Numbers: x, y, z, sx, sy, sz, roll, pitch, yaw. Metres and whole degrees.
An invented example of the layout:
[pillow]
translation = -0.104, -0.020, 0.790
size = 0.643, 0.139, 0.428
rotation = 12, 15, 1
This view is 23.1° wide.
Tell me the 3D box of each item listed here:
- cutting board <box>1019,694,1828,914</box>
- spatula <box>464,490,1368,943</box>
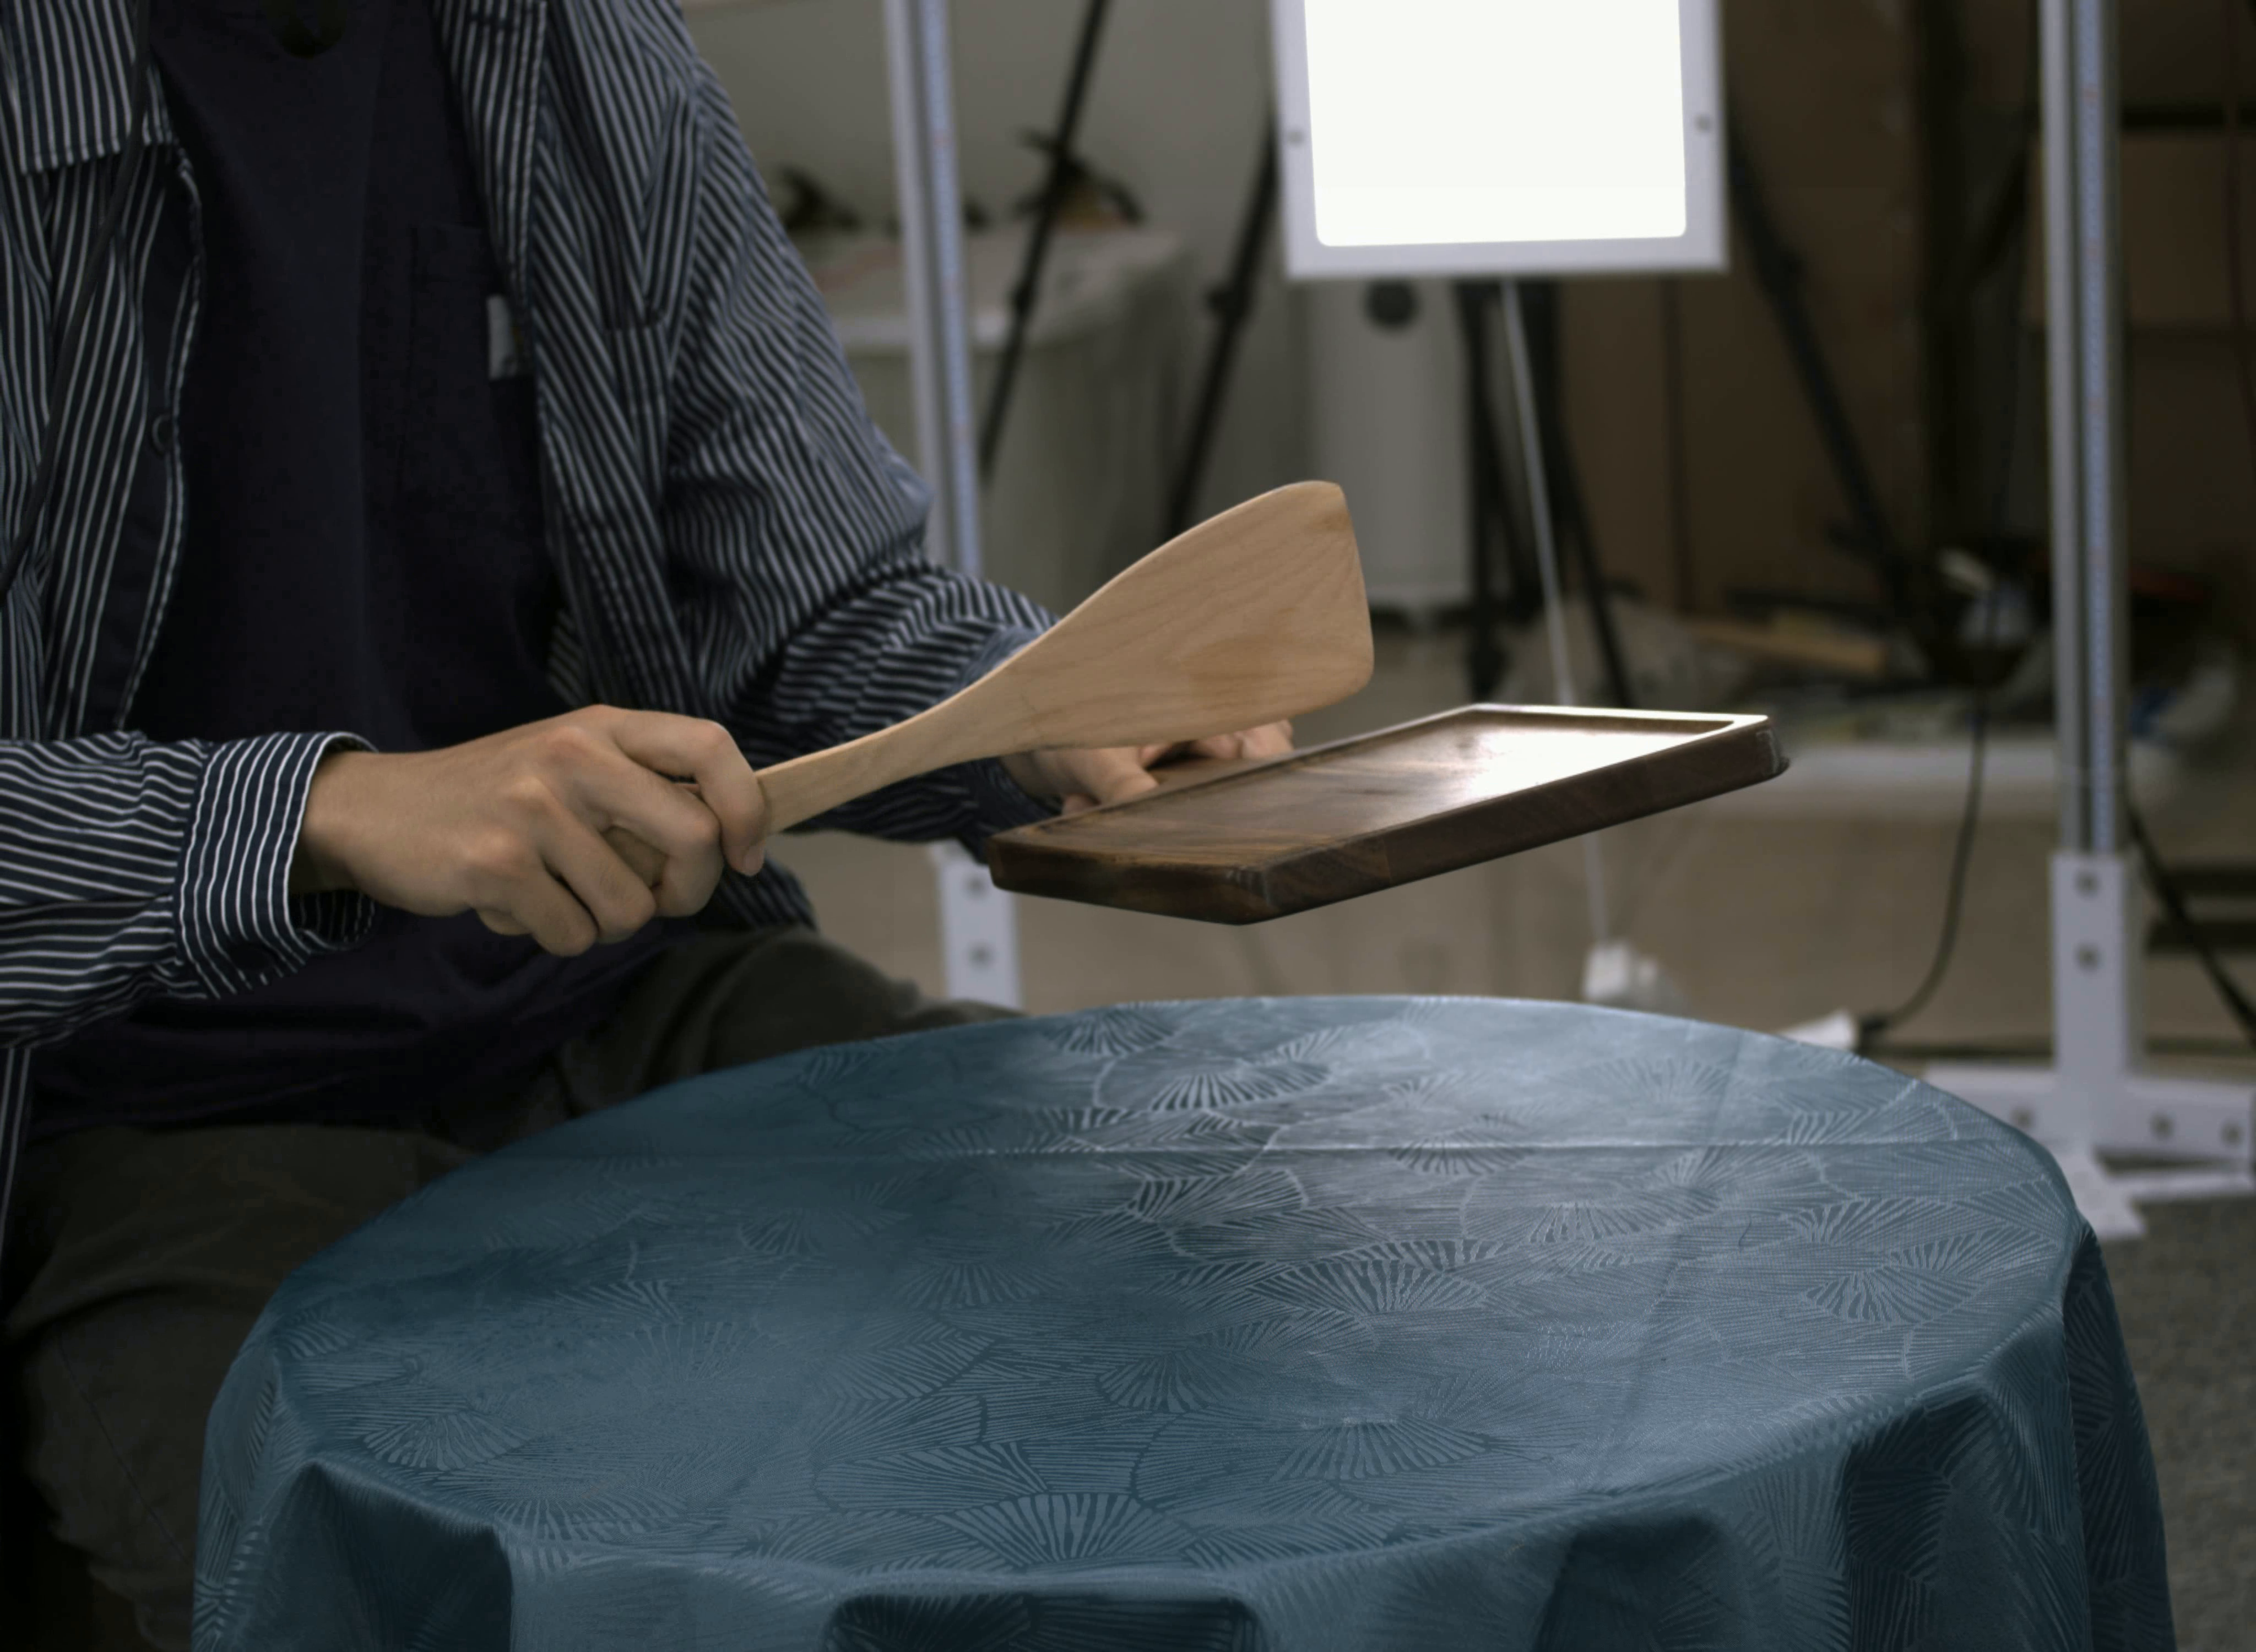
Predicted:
[cutting board]
translation = 0.077, -0.012, 1.875
size = 0.198, 0.023, 0.357
rotation = -16, 7, -17
[spatula]
translation = -0.072, -0.024, 1.858
size = 0.329, 0.080, 0.016
rotation = -20, 22, 9
